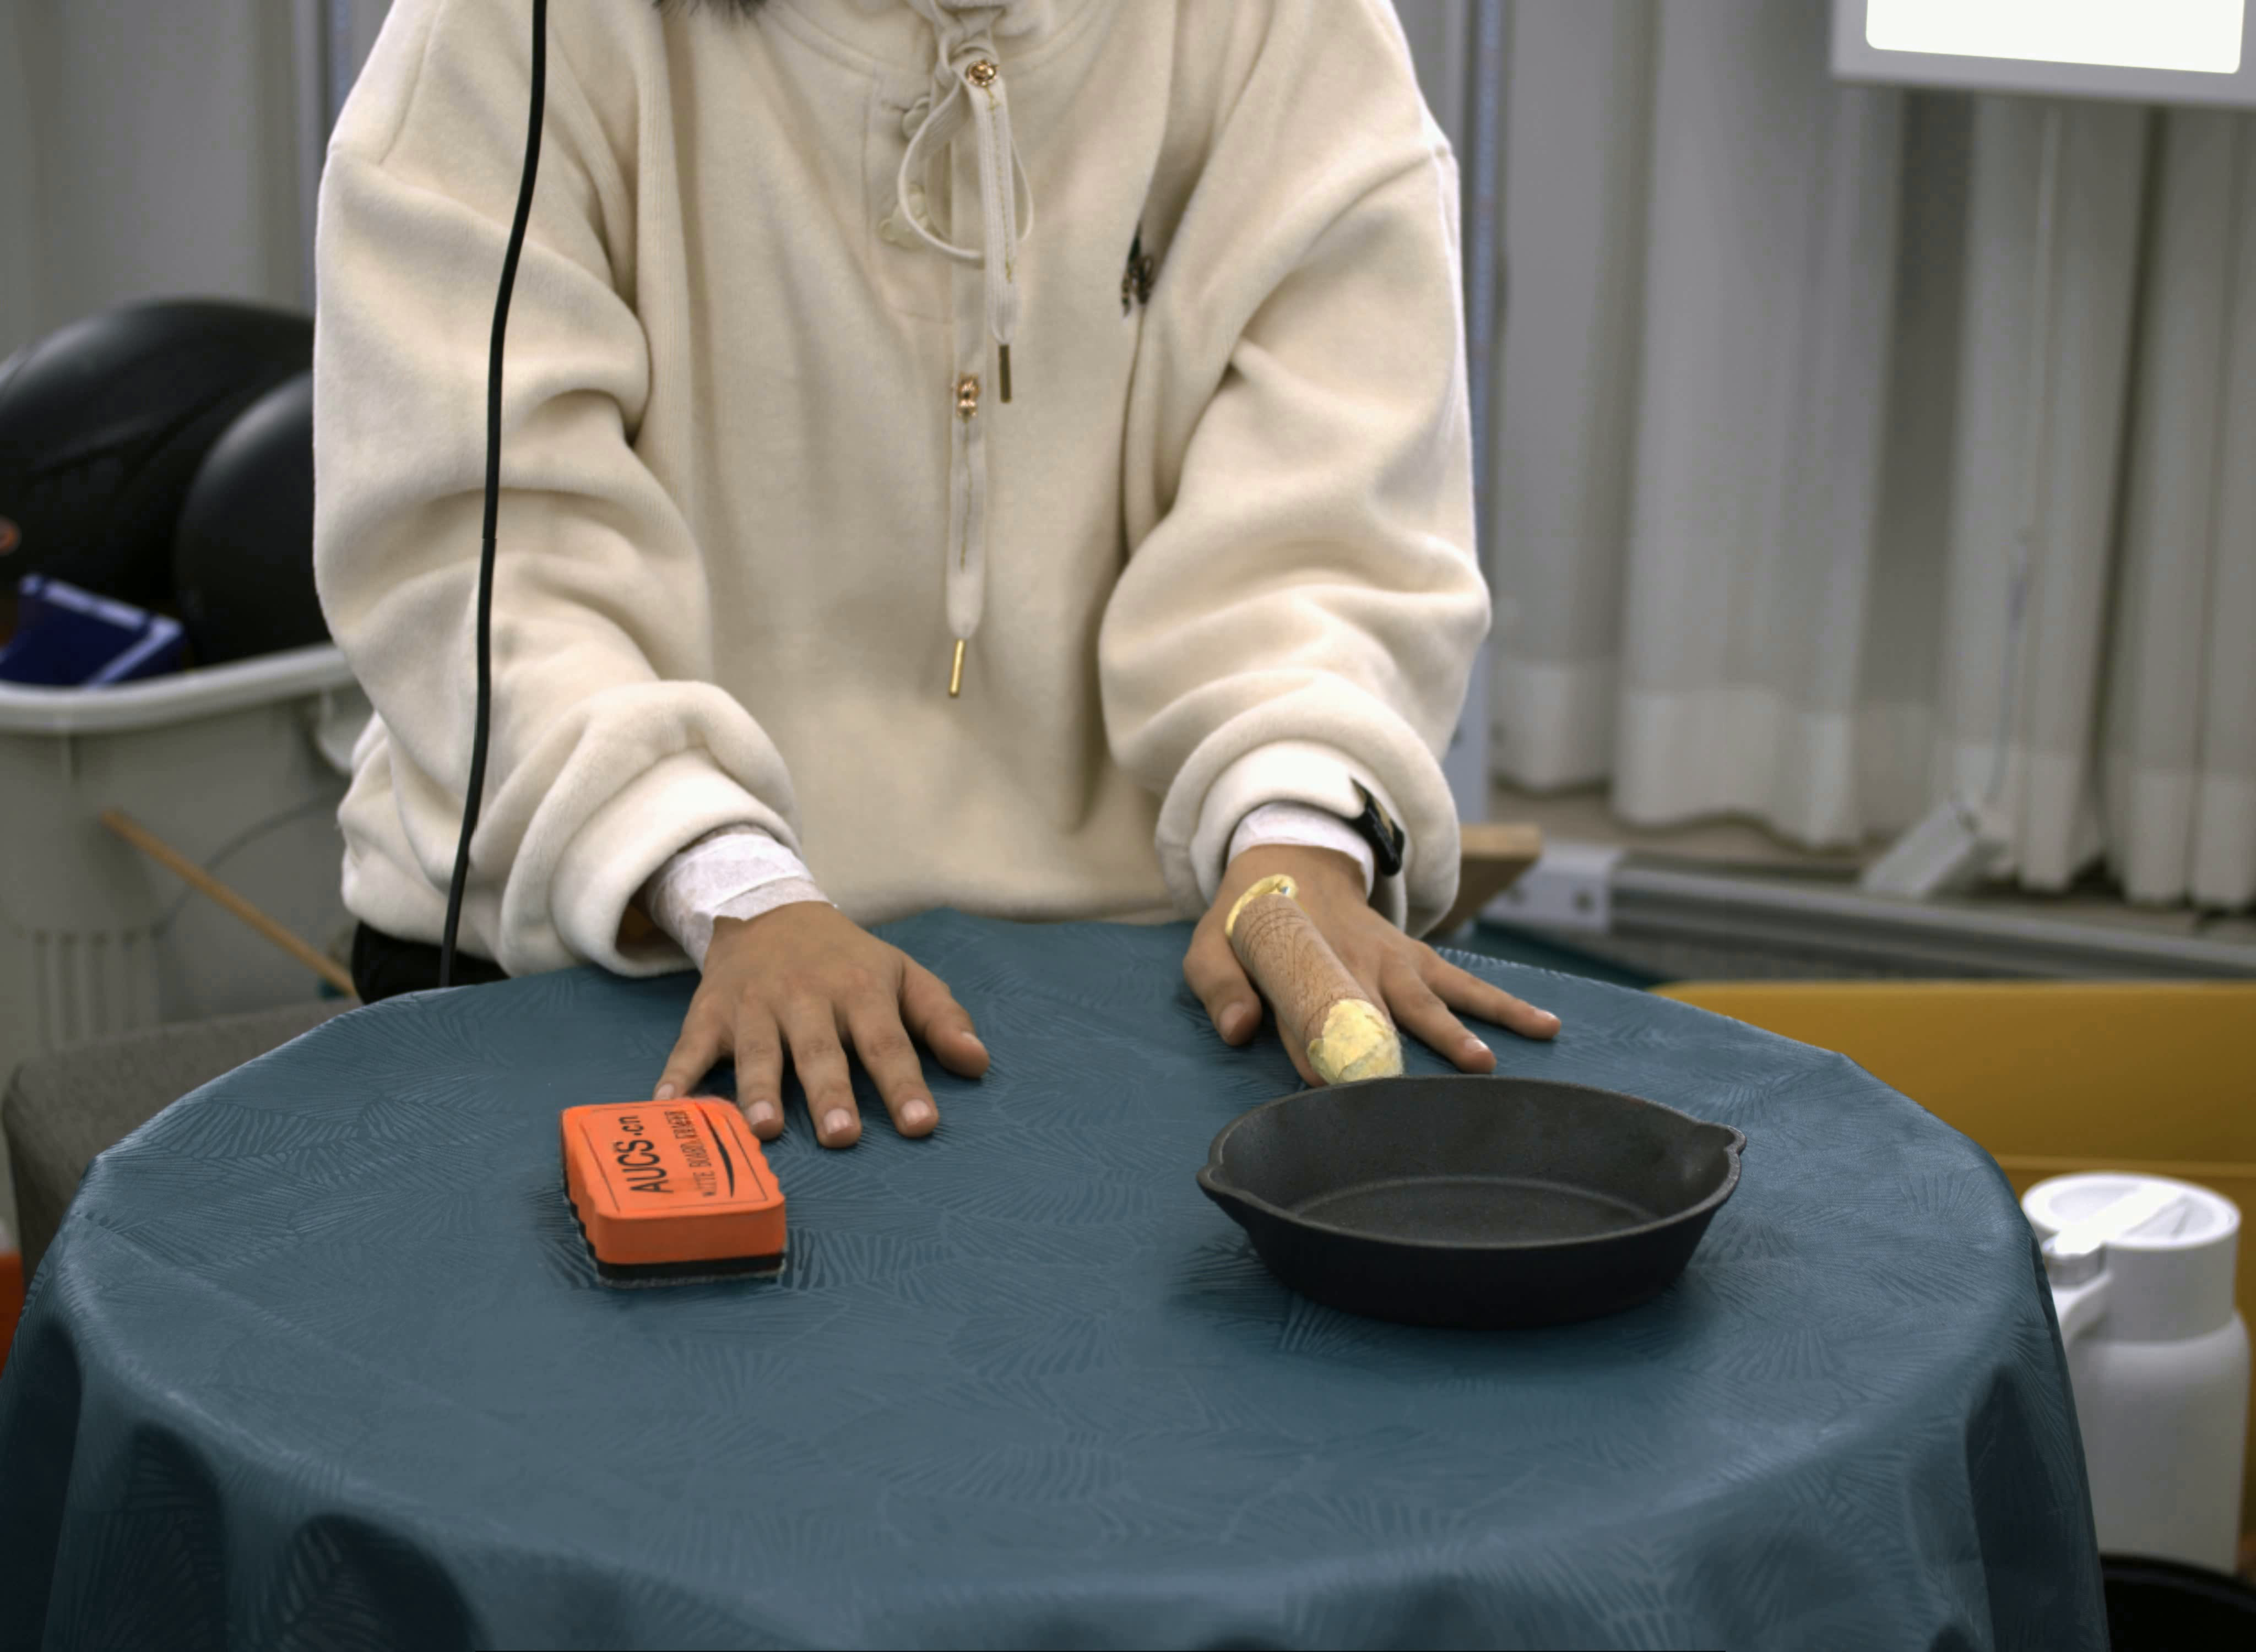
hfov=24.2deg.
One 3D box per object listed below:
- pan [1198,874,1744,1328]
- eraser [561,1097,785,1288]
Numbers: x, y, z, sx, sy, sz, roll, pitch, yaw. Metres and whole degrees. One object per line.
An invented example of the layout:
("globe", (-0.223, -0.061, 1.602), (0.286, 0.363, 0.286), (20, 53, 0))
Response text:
("pan", (0.082, 0.082, 1.638), (0.169, 0.050, 0.321), (-4, 17, -14))
("eraser", (-0.138, 0.109, 1.584), (0.059, 0.023, 0.107), (-3, 16, -12))
